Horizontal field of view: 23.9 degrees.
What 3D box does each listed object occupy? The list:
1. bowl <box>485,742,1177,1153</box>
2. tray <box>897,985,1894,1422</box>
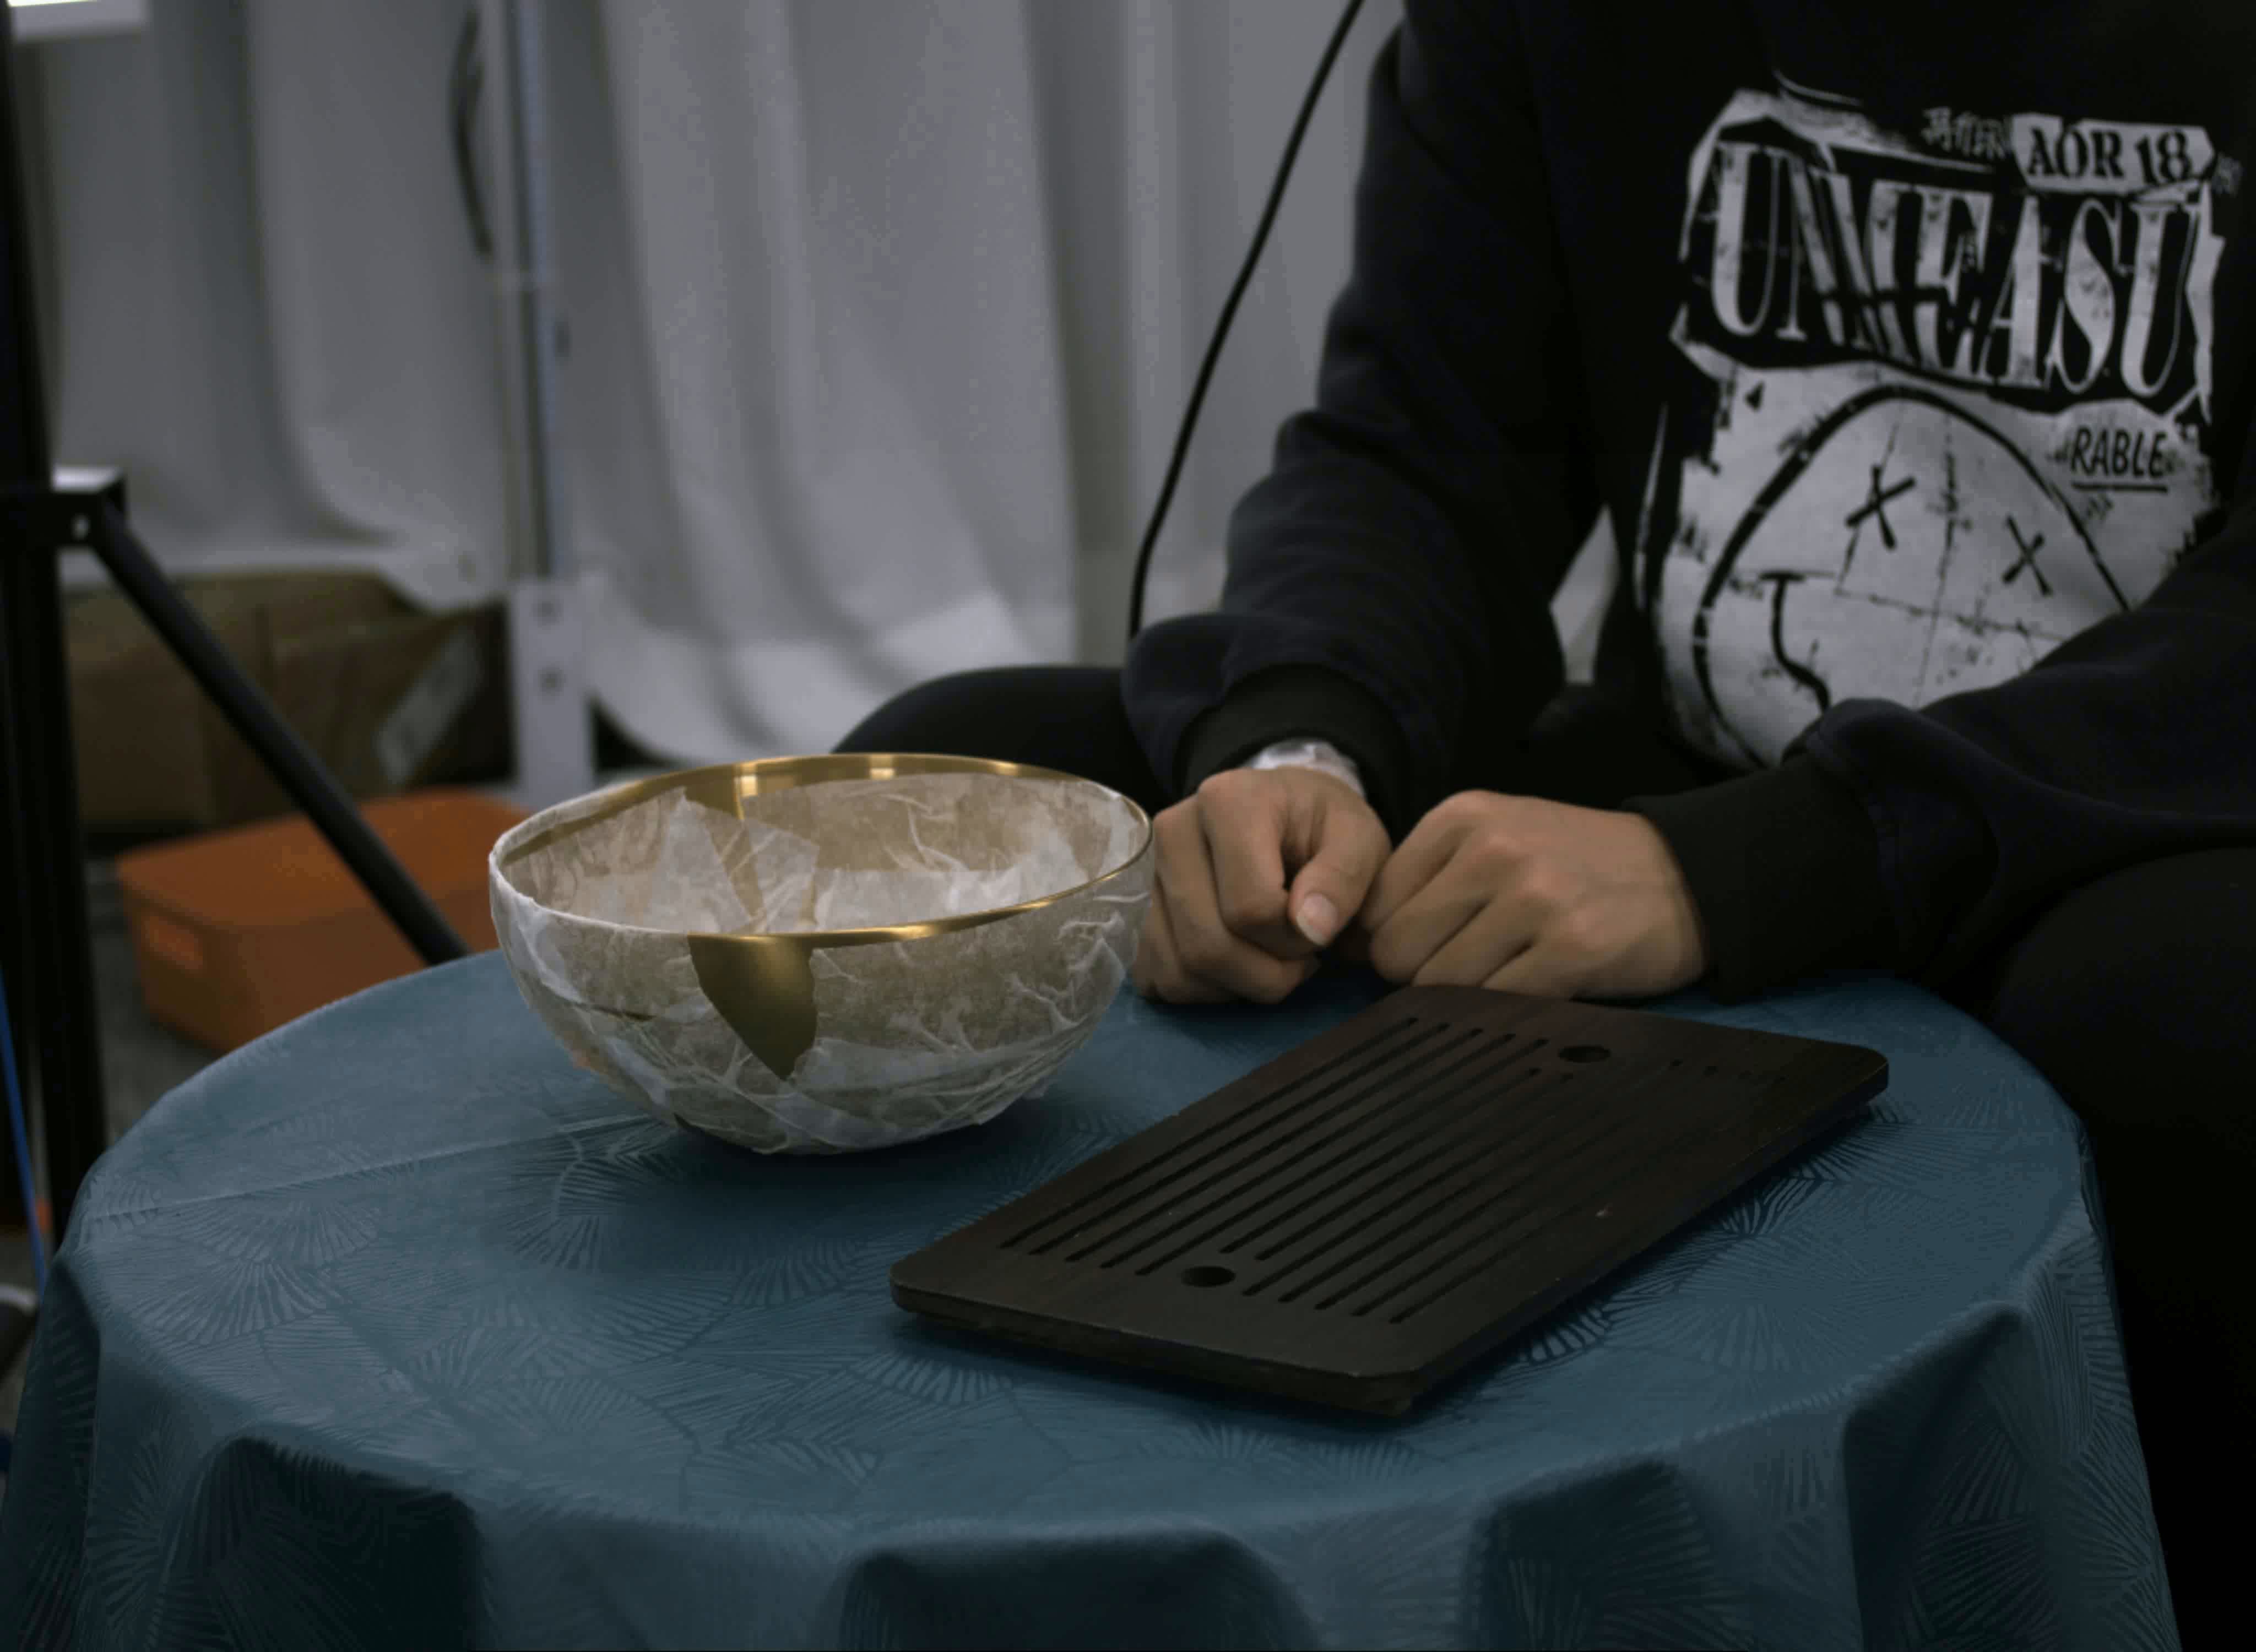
[{"bbox_3d":[-0.086,0.045,1.622,0.213,0.094,0.216,-4,15,0],"label":"bowl"},{"bbox_3d":[0.084,0.105,1.523,0.173,0.018,0.300,8,19,33],"label":"tray"}]
